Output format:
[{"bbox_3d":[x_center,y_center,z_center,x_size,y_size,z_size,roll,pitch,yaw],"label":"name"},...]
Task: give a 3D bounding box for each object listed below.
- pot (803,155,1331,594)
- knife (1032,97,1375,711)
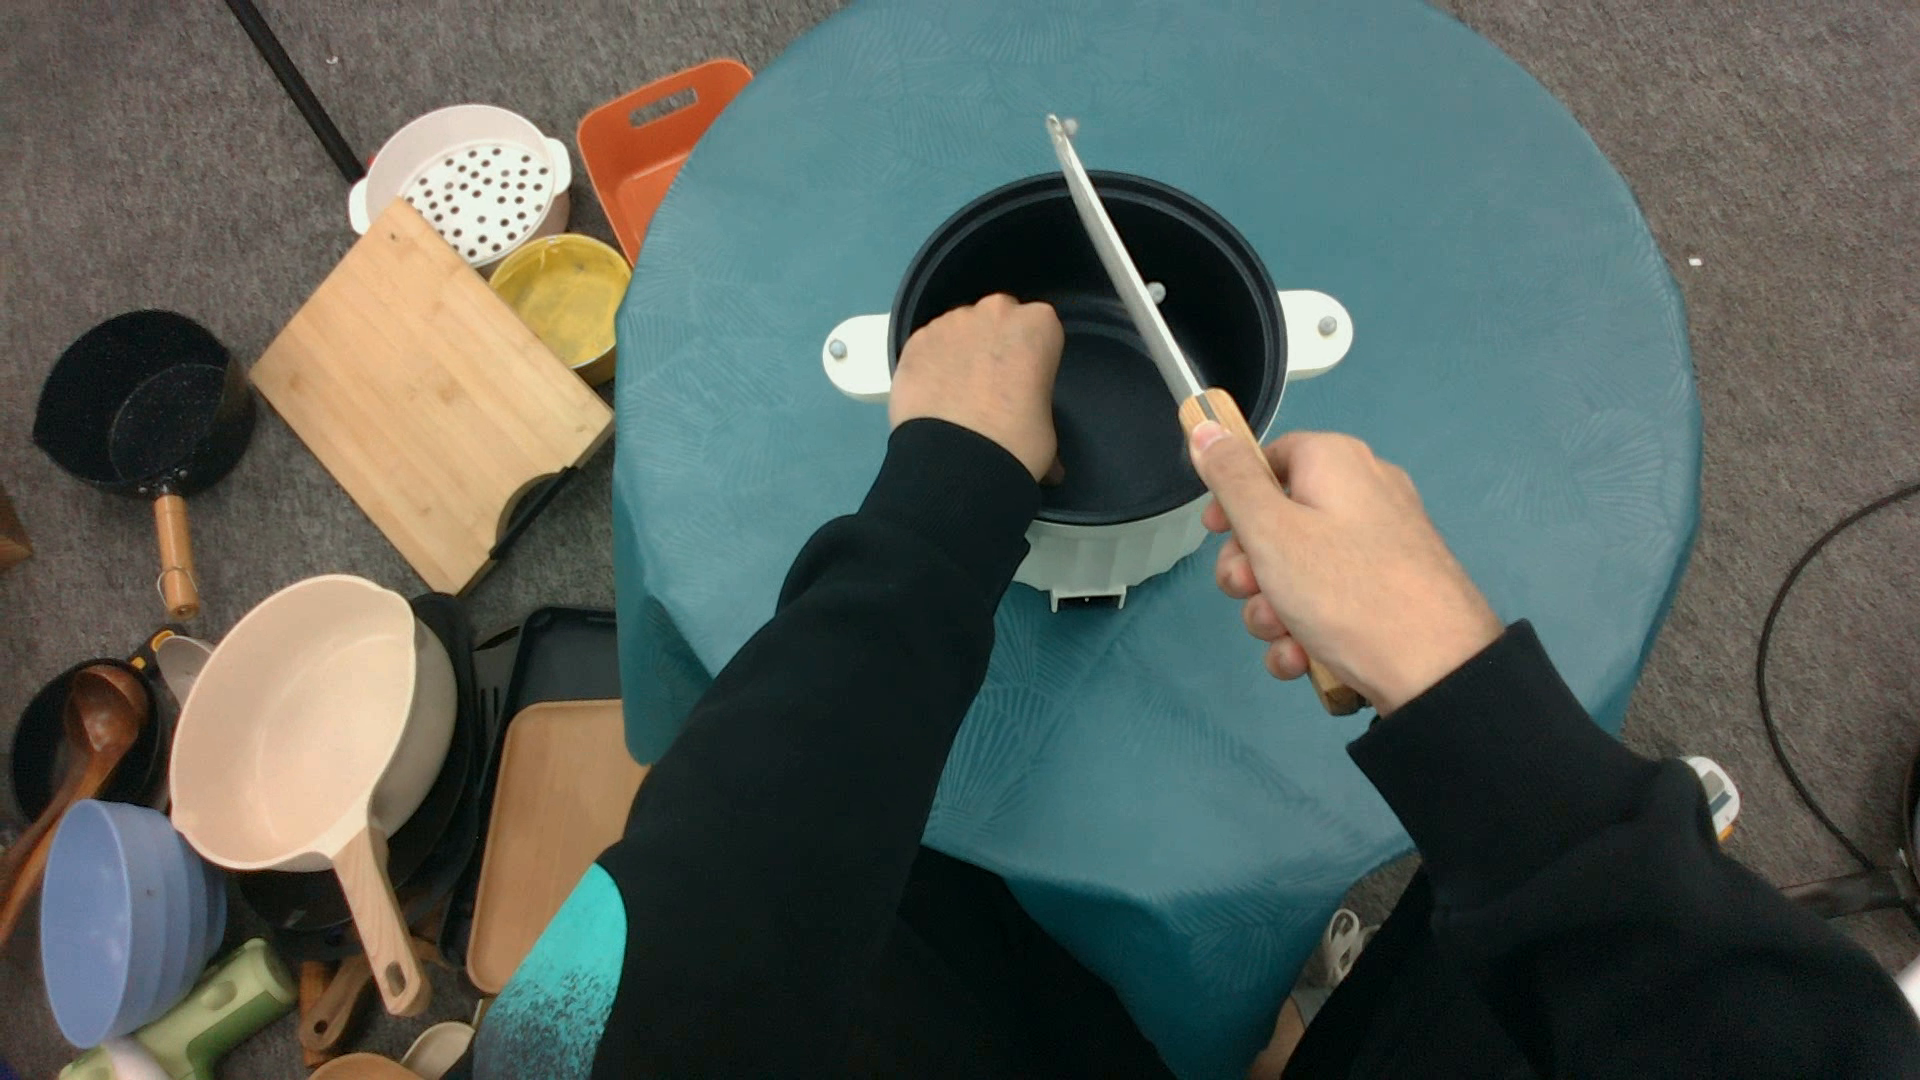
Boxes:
[{"bbox_3d":[0.049,-0.081,0.684,0.240,0.142,0.191,-3,72,-1],"label":"pot"},{"bbox_3d":[0.086,-0.065,0.552,0.022,0.113,0.316,-25,51,6],"label":"knife"}]
